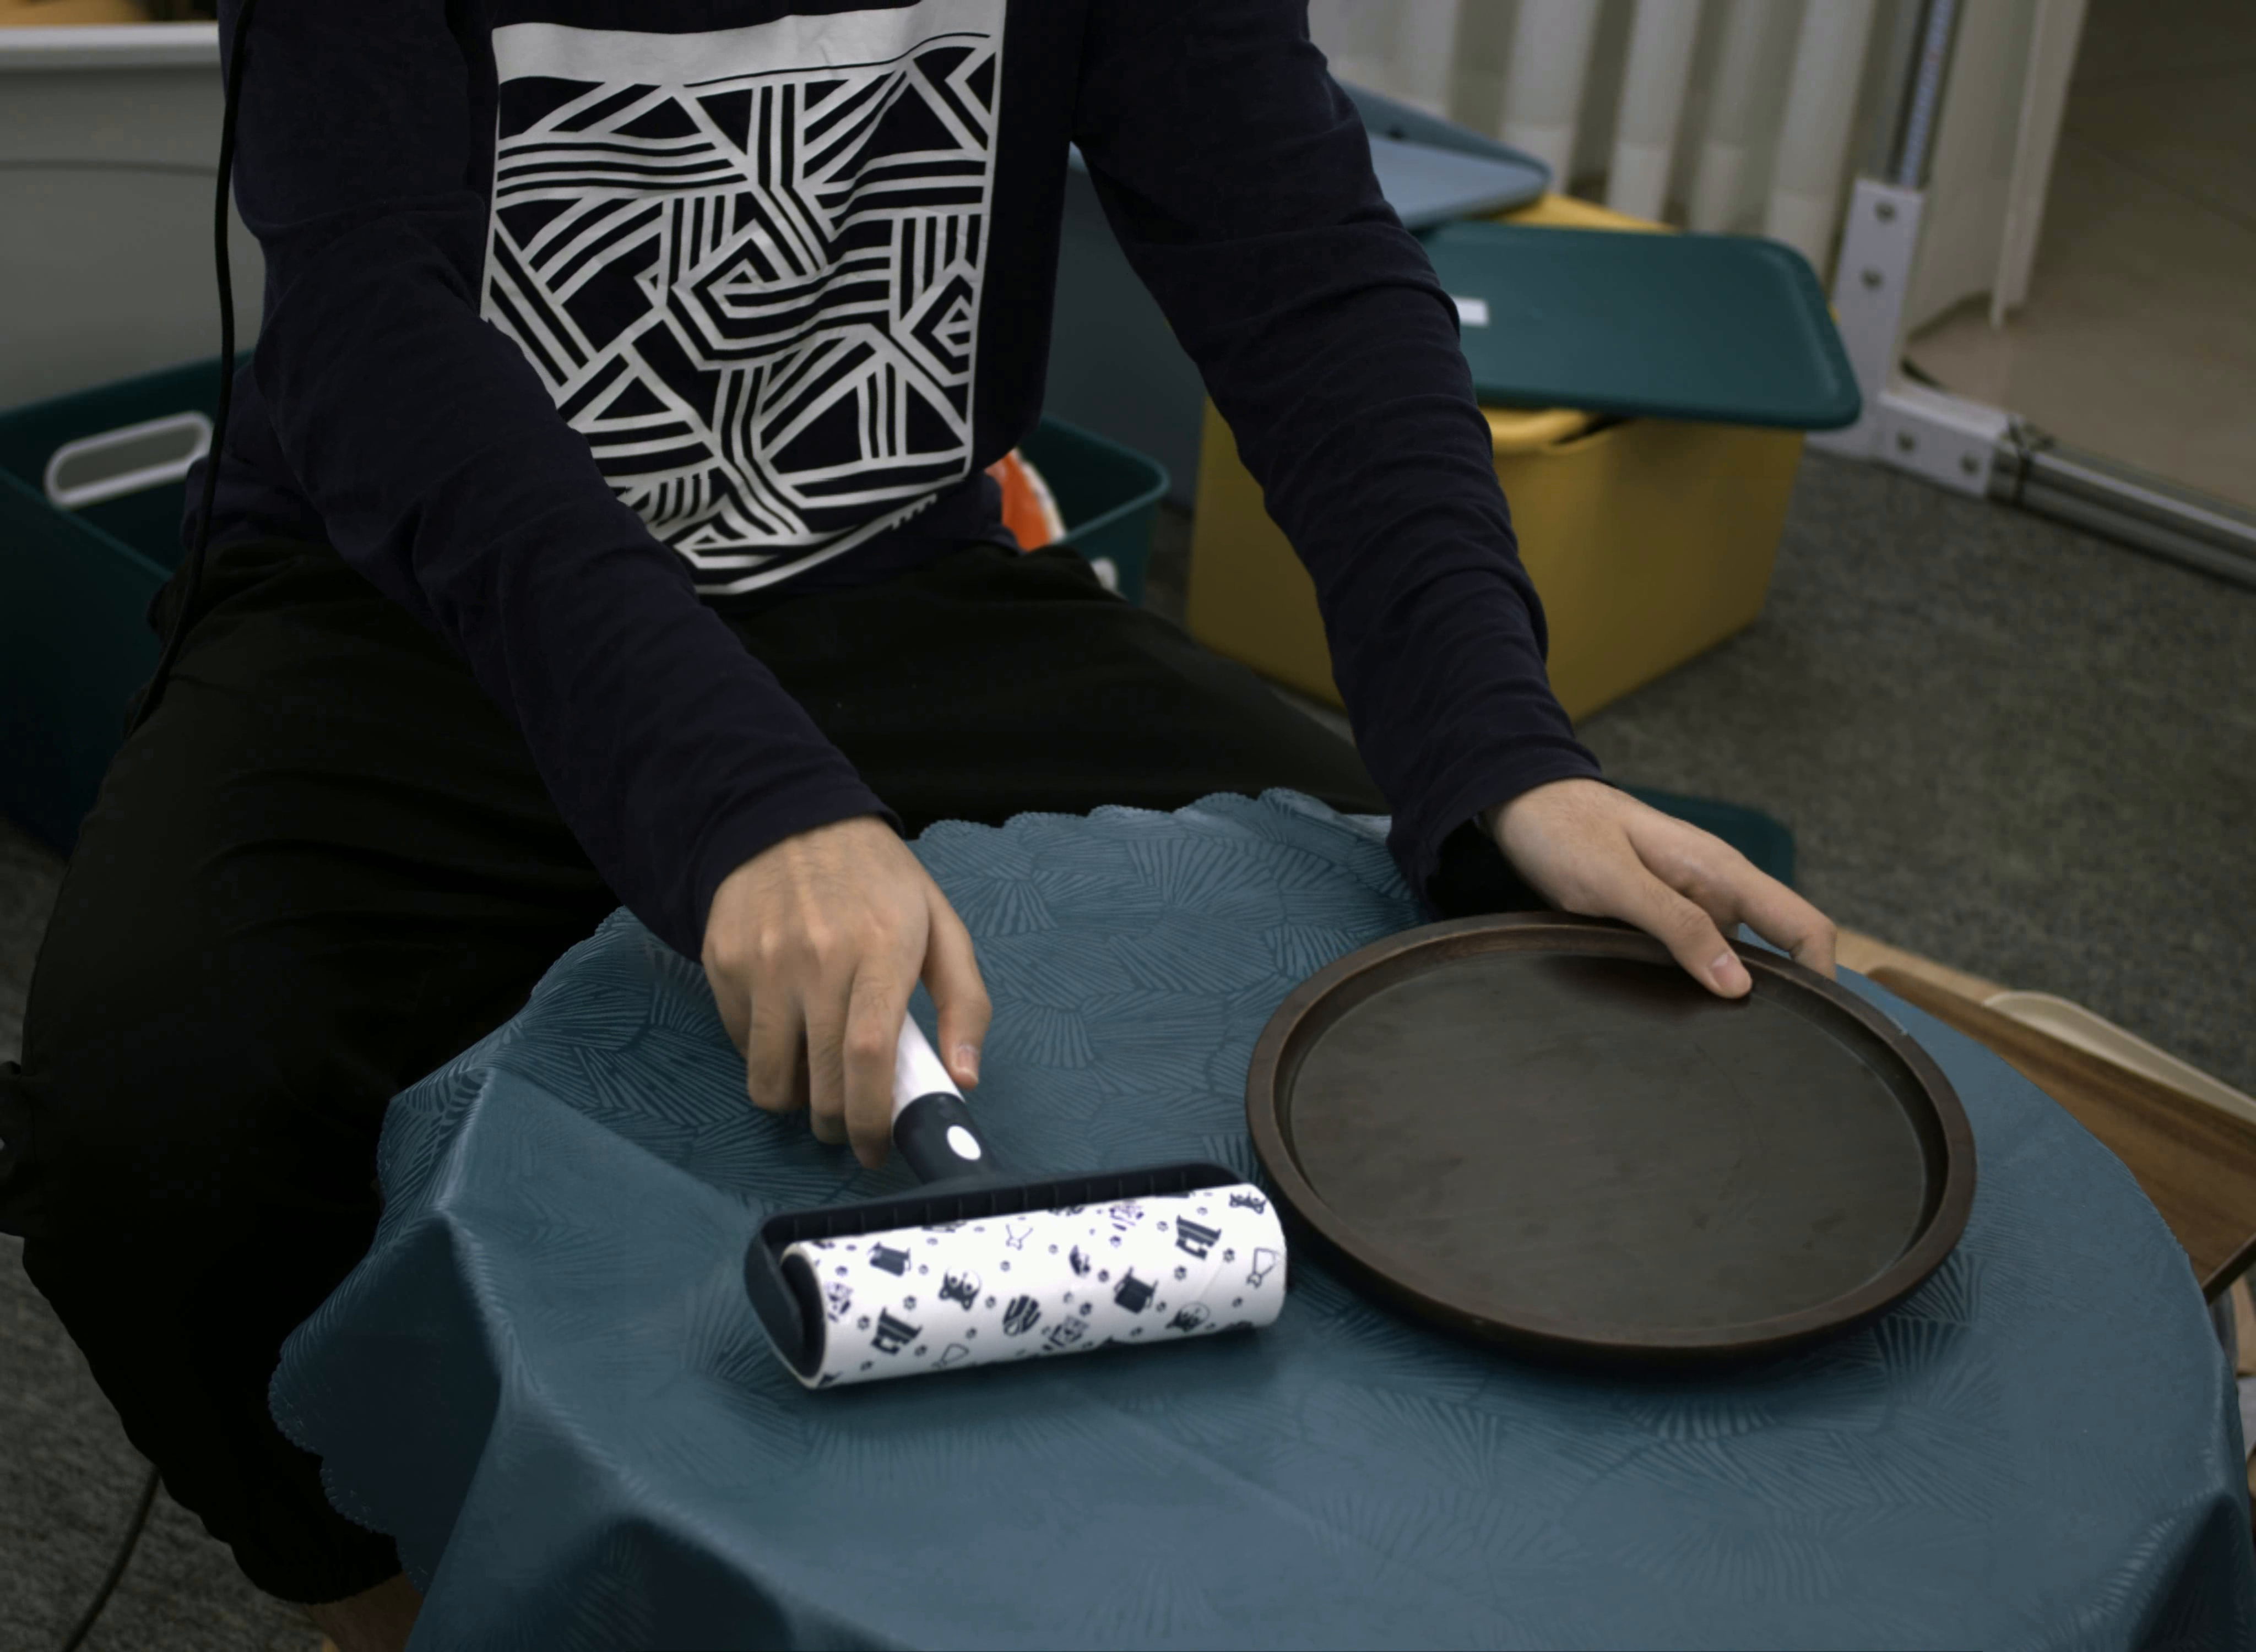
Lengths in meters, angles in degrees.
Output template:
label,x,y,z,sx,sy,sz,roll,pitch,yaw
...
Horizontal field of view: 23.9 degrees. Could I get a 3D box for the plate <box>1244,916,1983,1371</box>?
label,x,y,z,sx,sy,sz,roll,pitch,yaw
plate,0.166,0.107,1.825,0.254,0.029,0.256,3,31,-2

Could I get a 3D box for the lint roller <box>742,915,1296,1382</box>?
label,x,y,z,sx,sy,sz,roll,pitch,yaw
lint roller,-0.071,0.093,1.779,0.175,0.050,0.249,-7,33,-23
